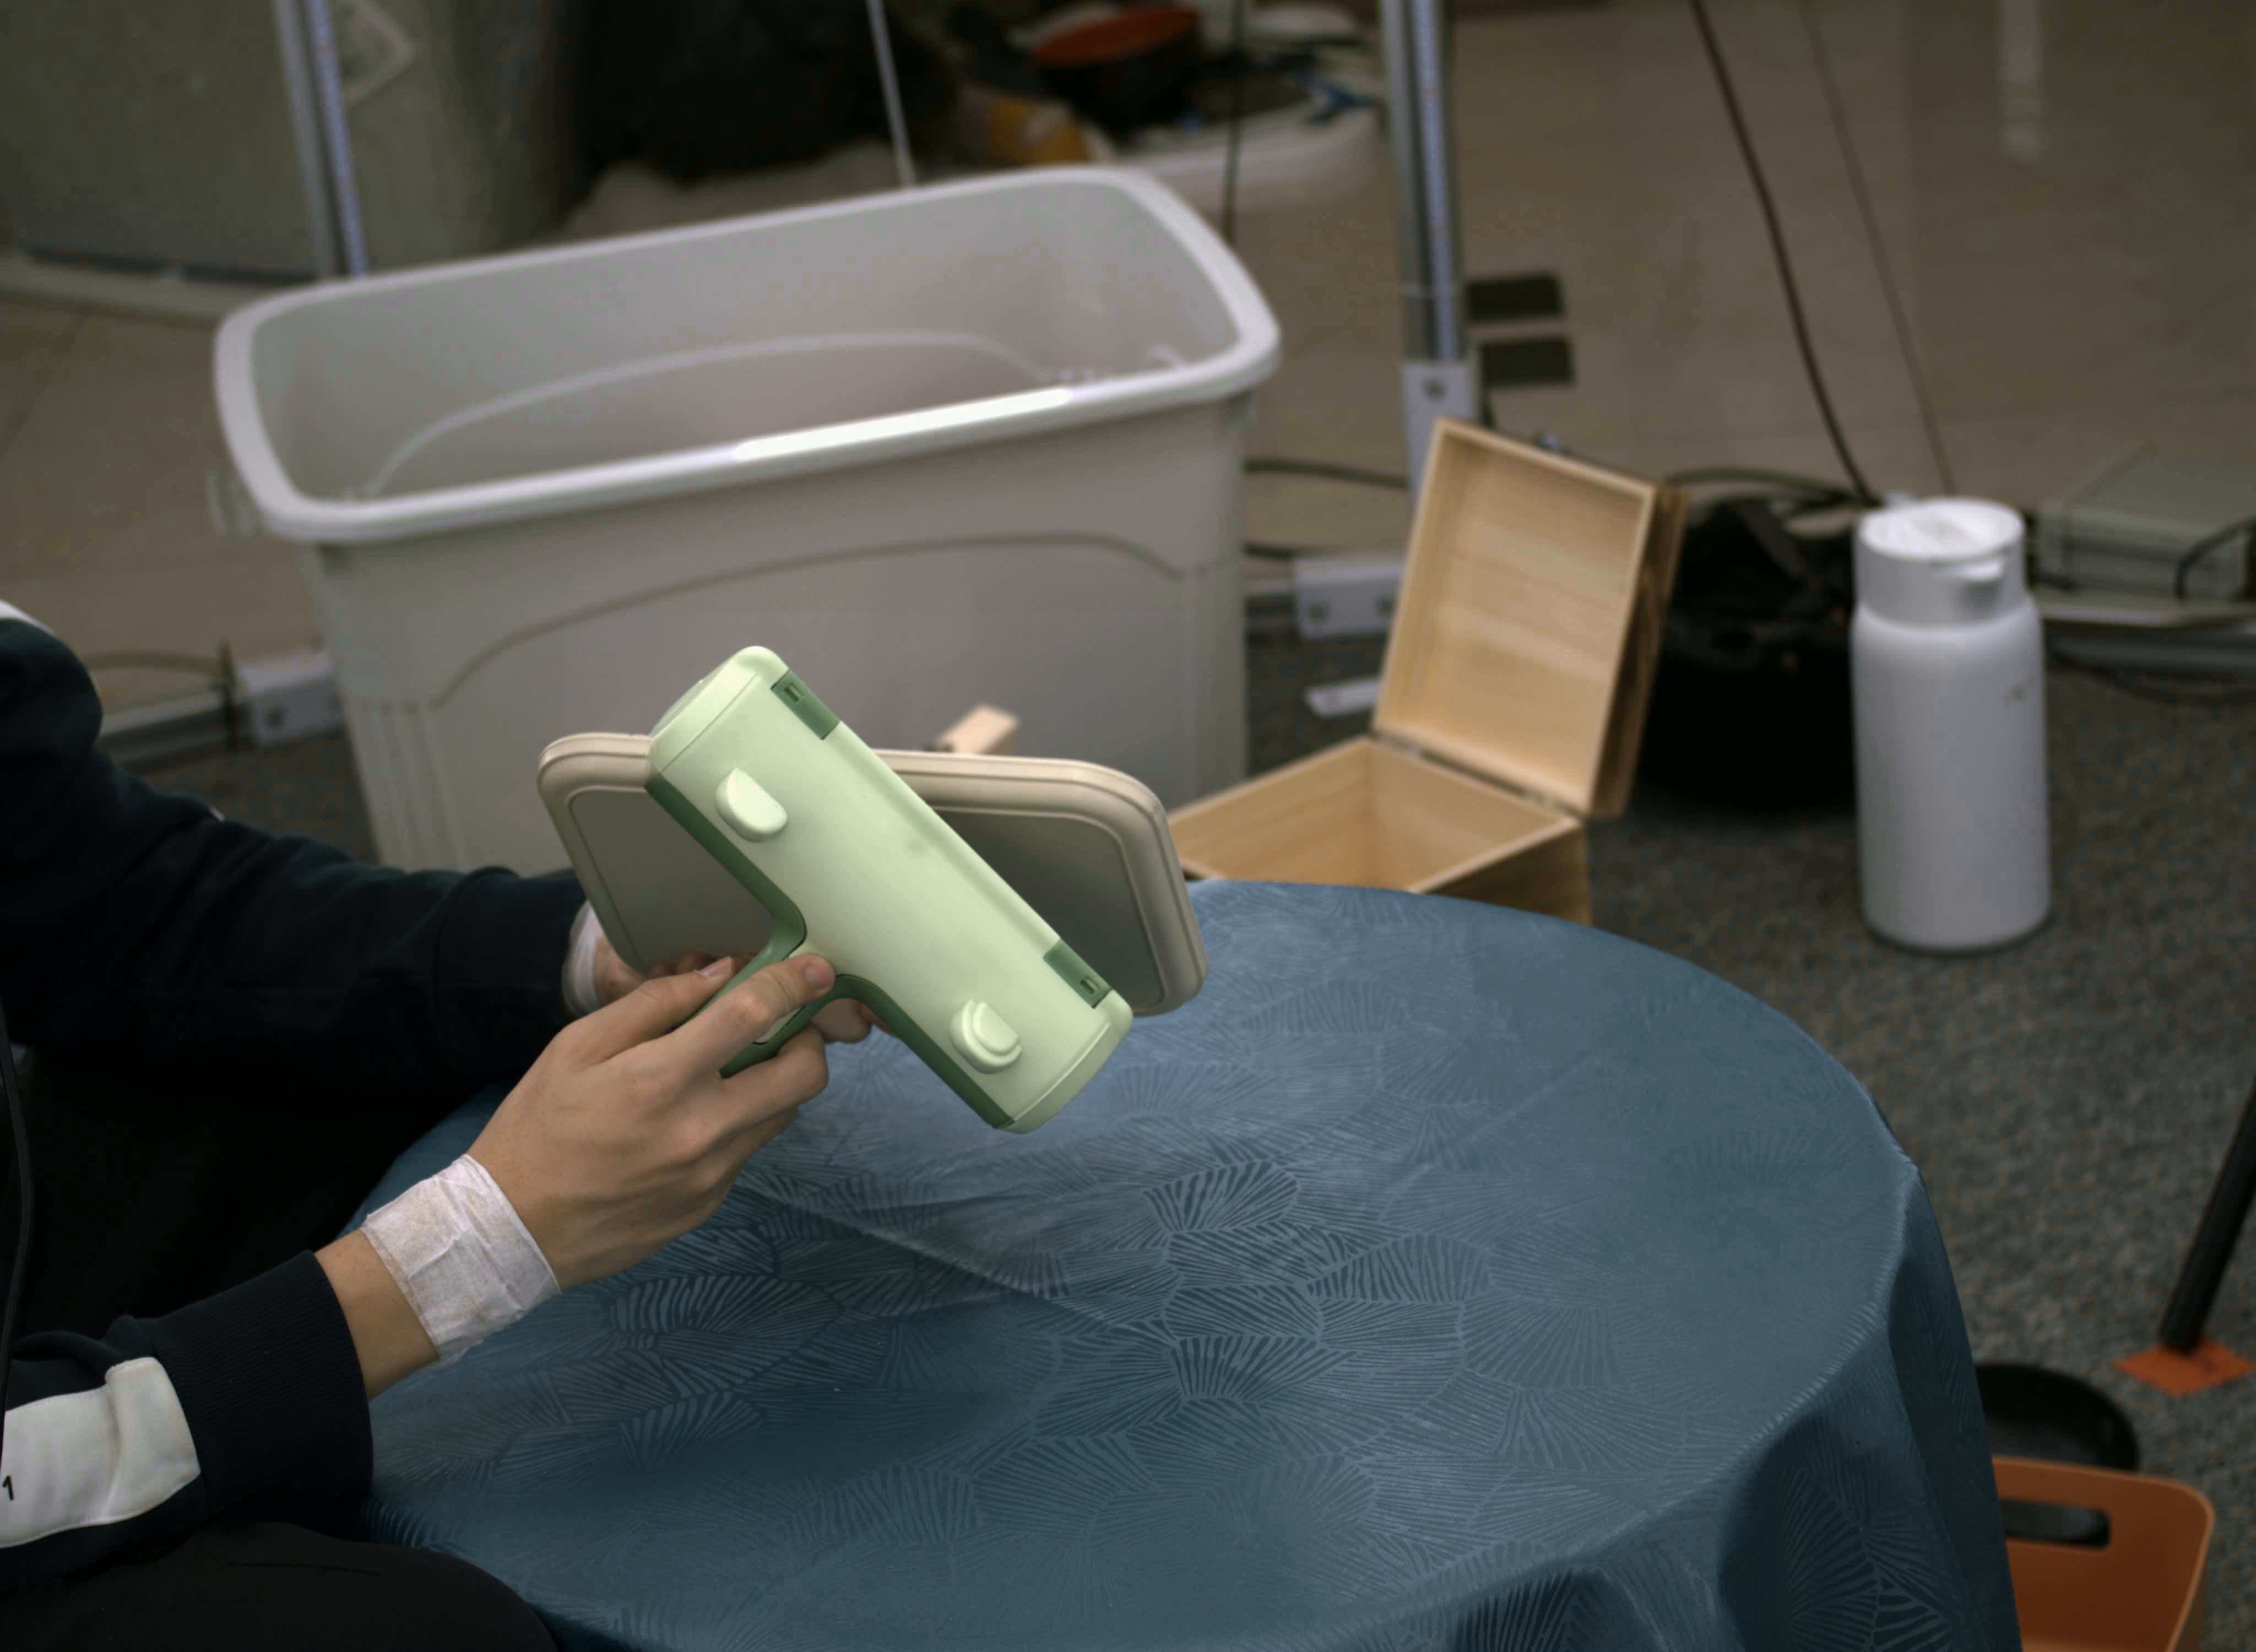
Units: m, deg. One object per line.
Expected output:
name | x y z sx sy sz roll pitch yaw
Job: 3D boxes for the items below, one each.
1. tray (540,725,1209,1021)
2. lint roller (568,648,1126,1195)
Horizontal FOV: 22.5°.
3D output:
tray | -0.094 0.021 2.110 0.239 0.174 0.017 4 58 12
lint roller | -0.129 0.066 1.994 0.183 0.199 0.082 -45 10 -1
